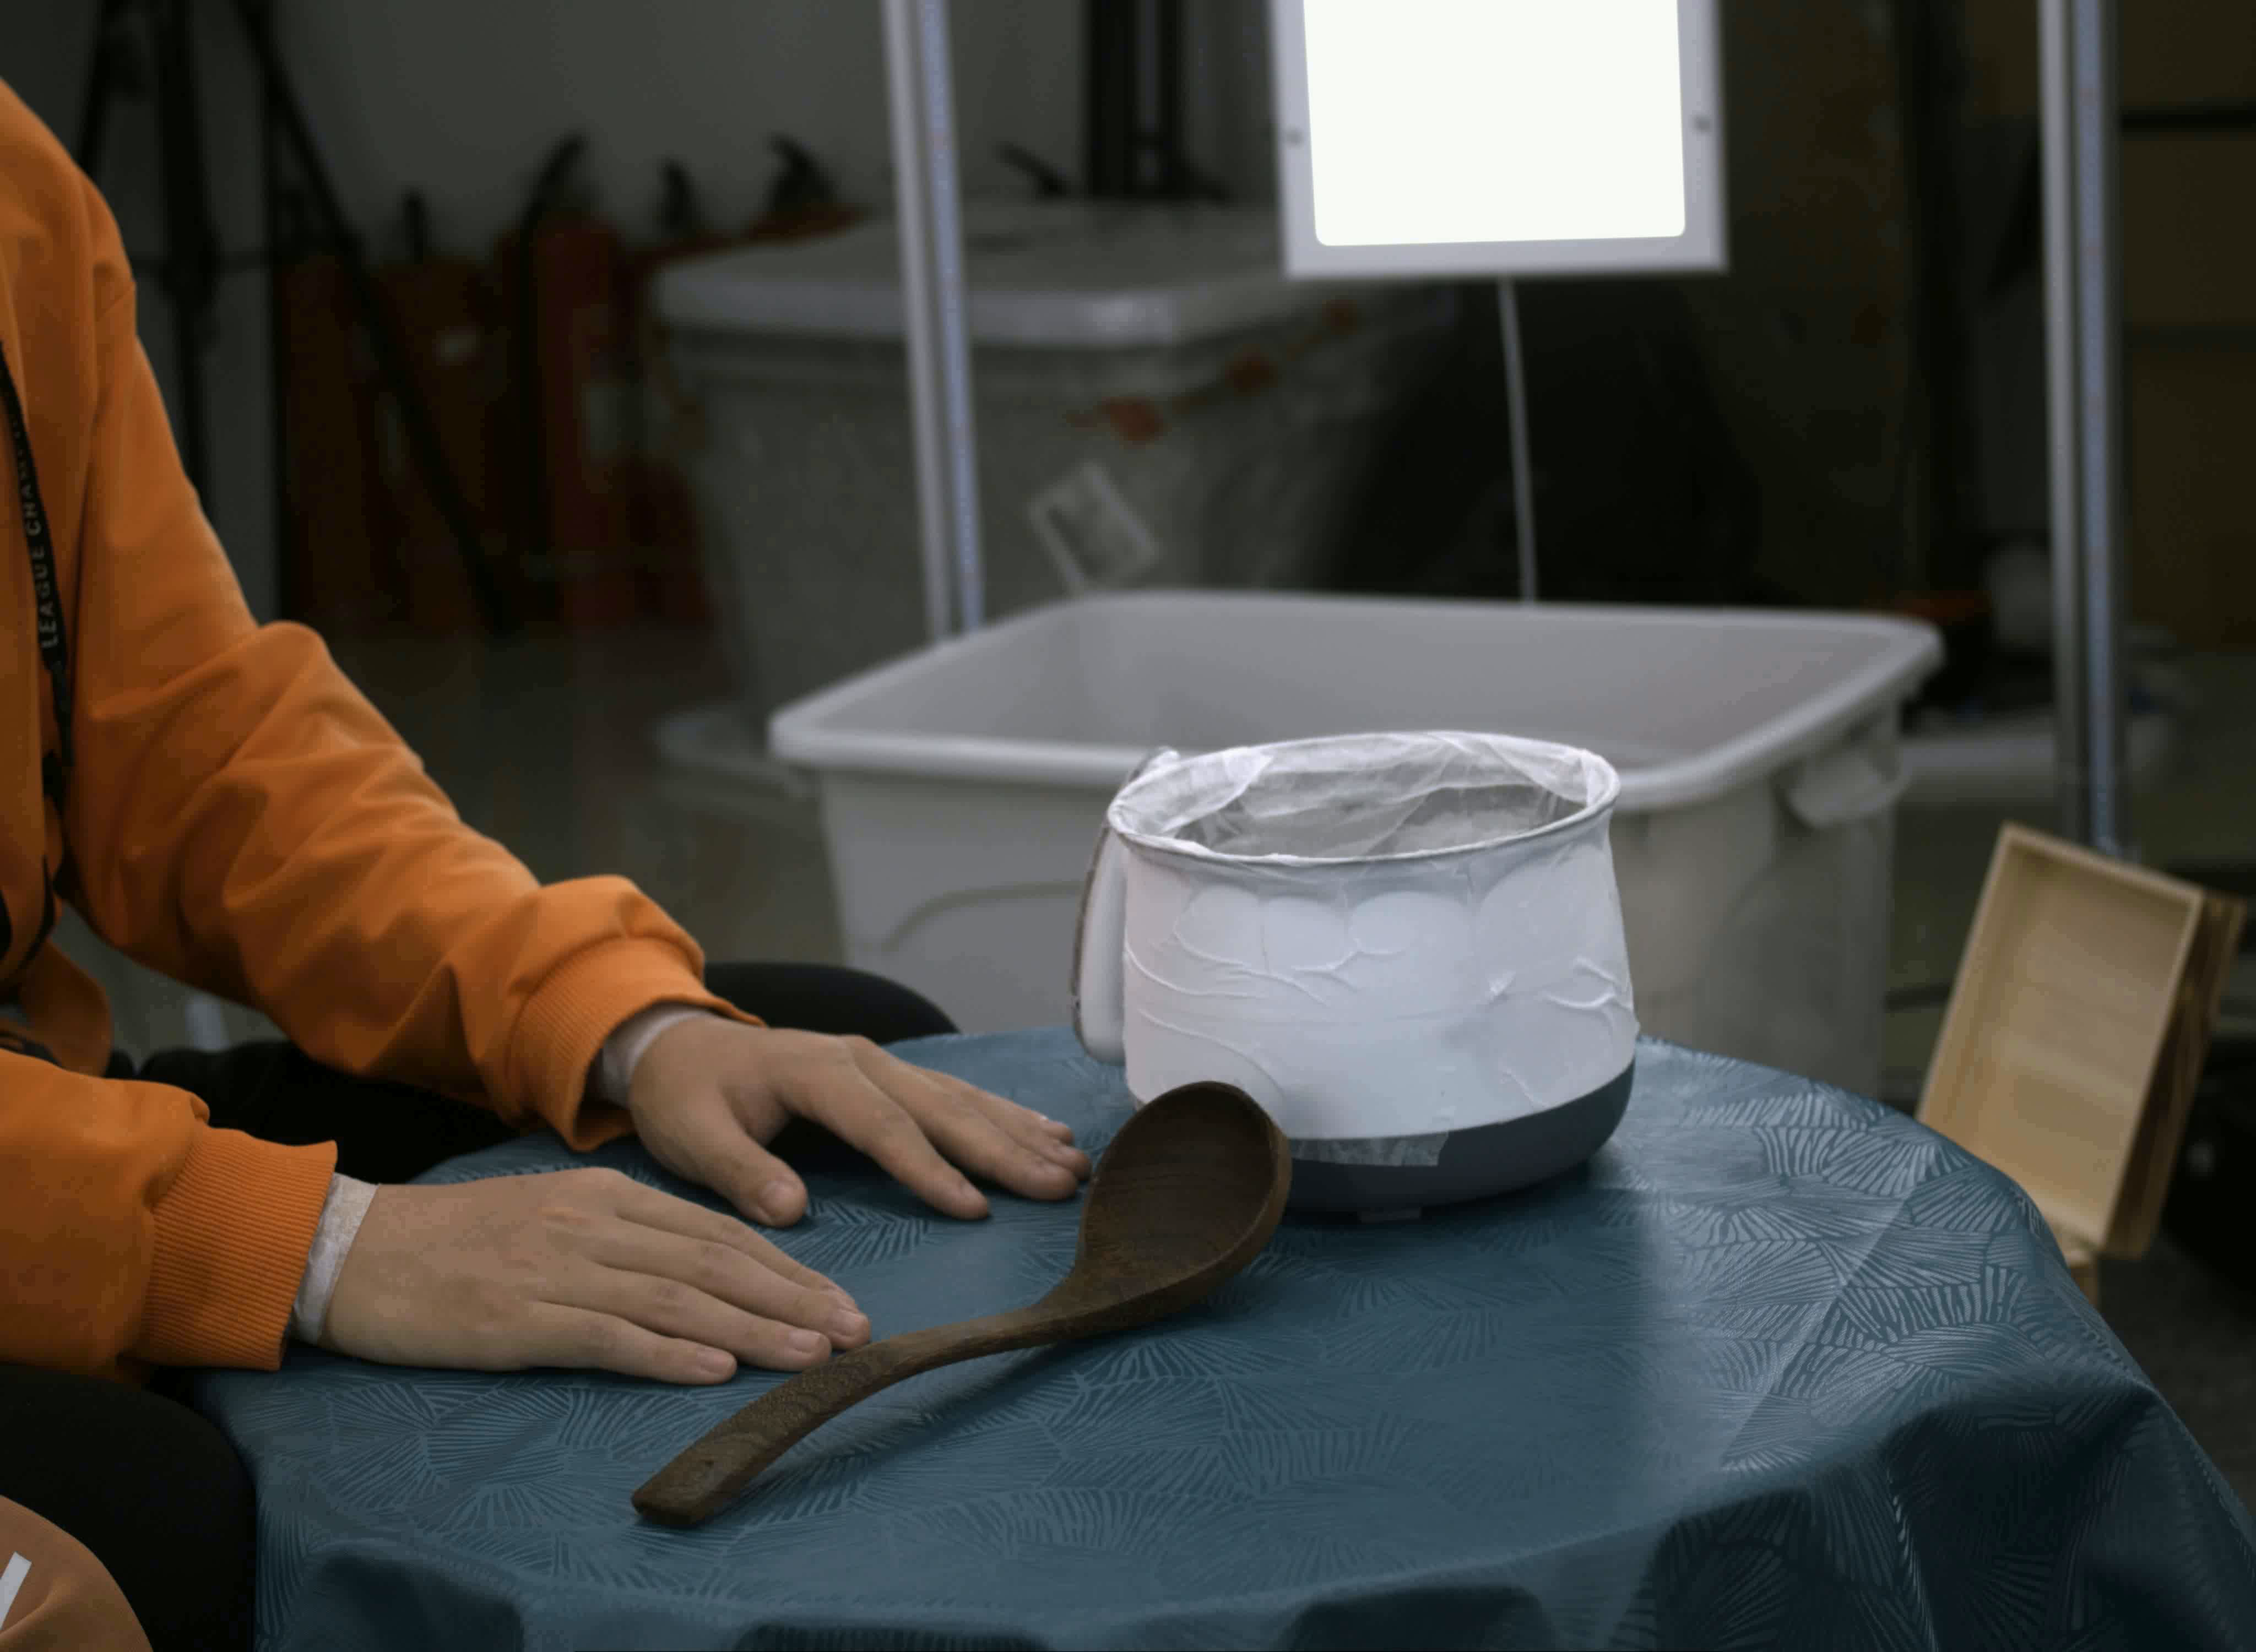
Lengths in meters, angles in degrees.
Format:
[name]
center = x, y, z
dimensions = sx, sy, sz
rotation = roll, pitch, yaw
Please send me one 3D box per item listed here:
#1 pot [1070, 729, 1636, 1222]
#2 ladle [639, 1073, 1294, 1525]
[pot]
center = 0.066, 0.046, 1.911
dimensions = 0.174, 0.137, 0.239
rotation = -17, 18, -41
[ladle]
center = -0.050, 0.142, 1.707
dimensions = 0.078, 0.071, 0.267
rotation = 4, 16, 43
